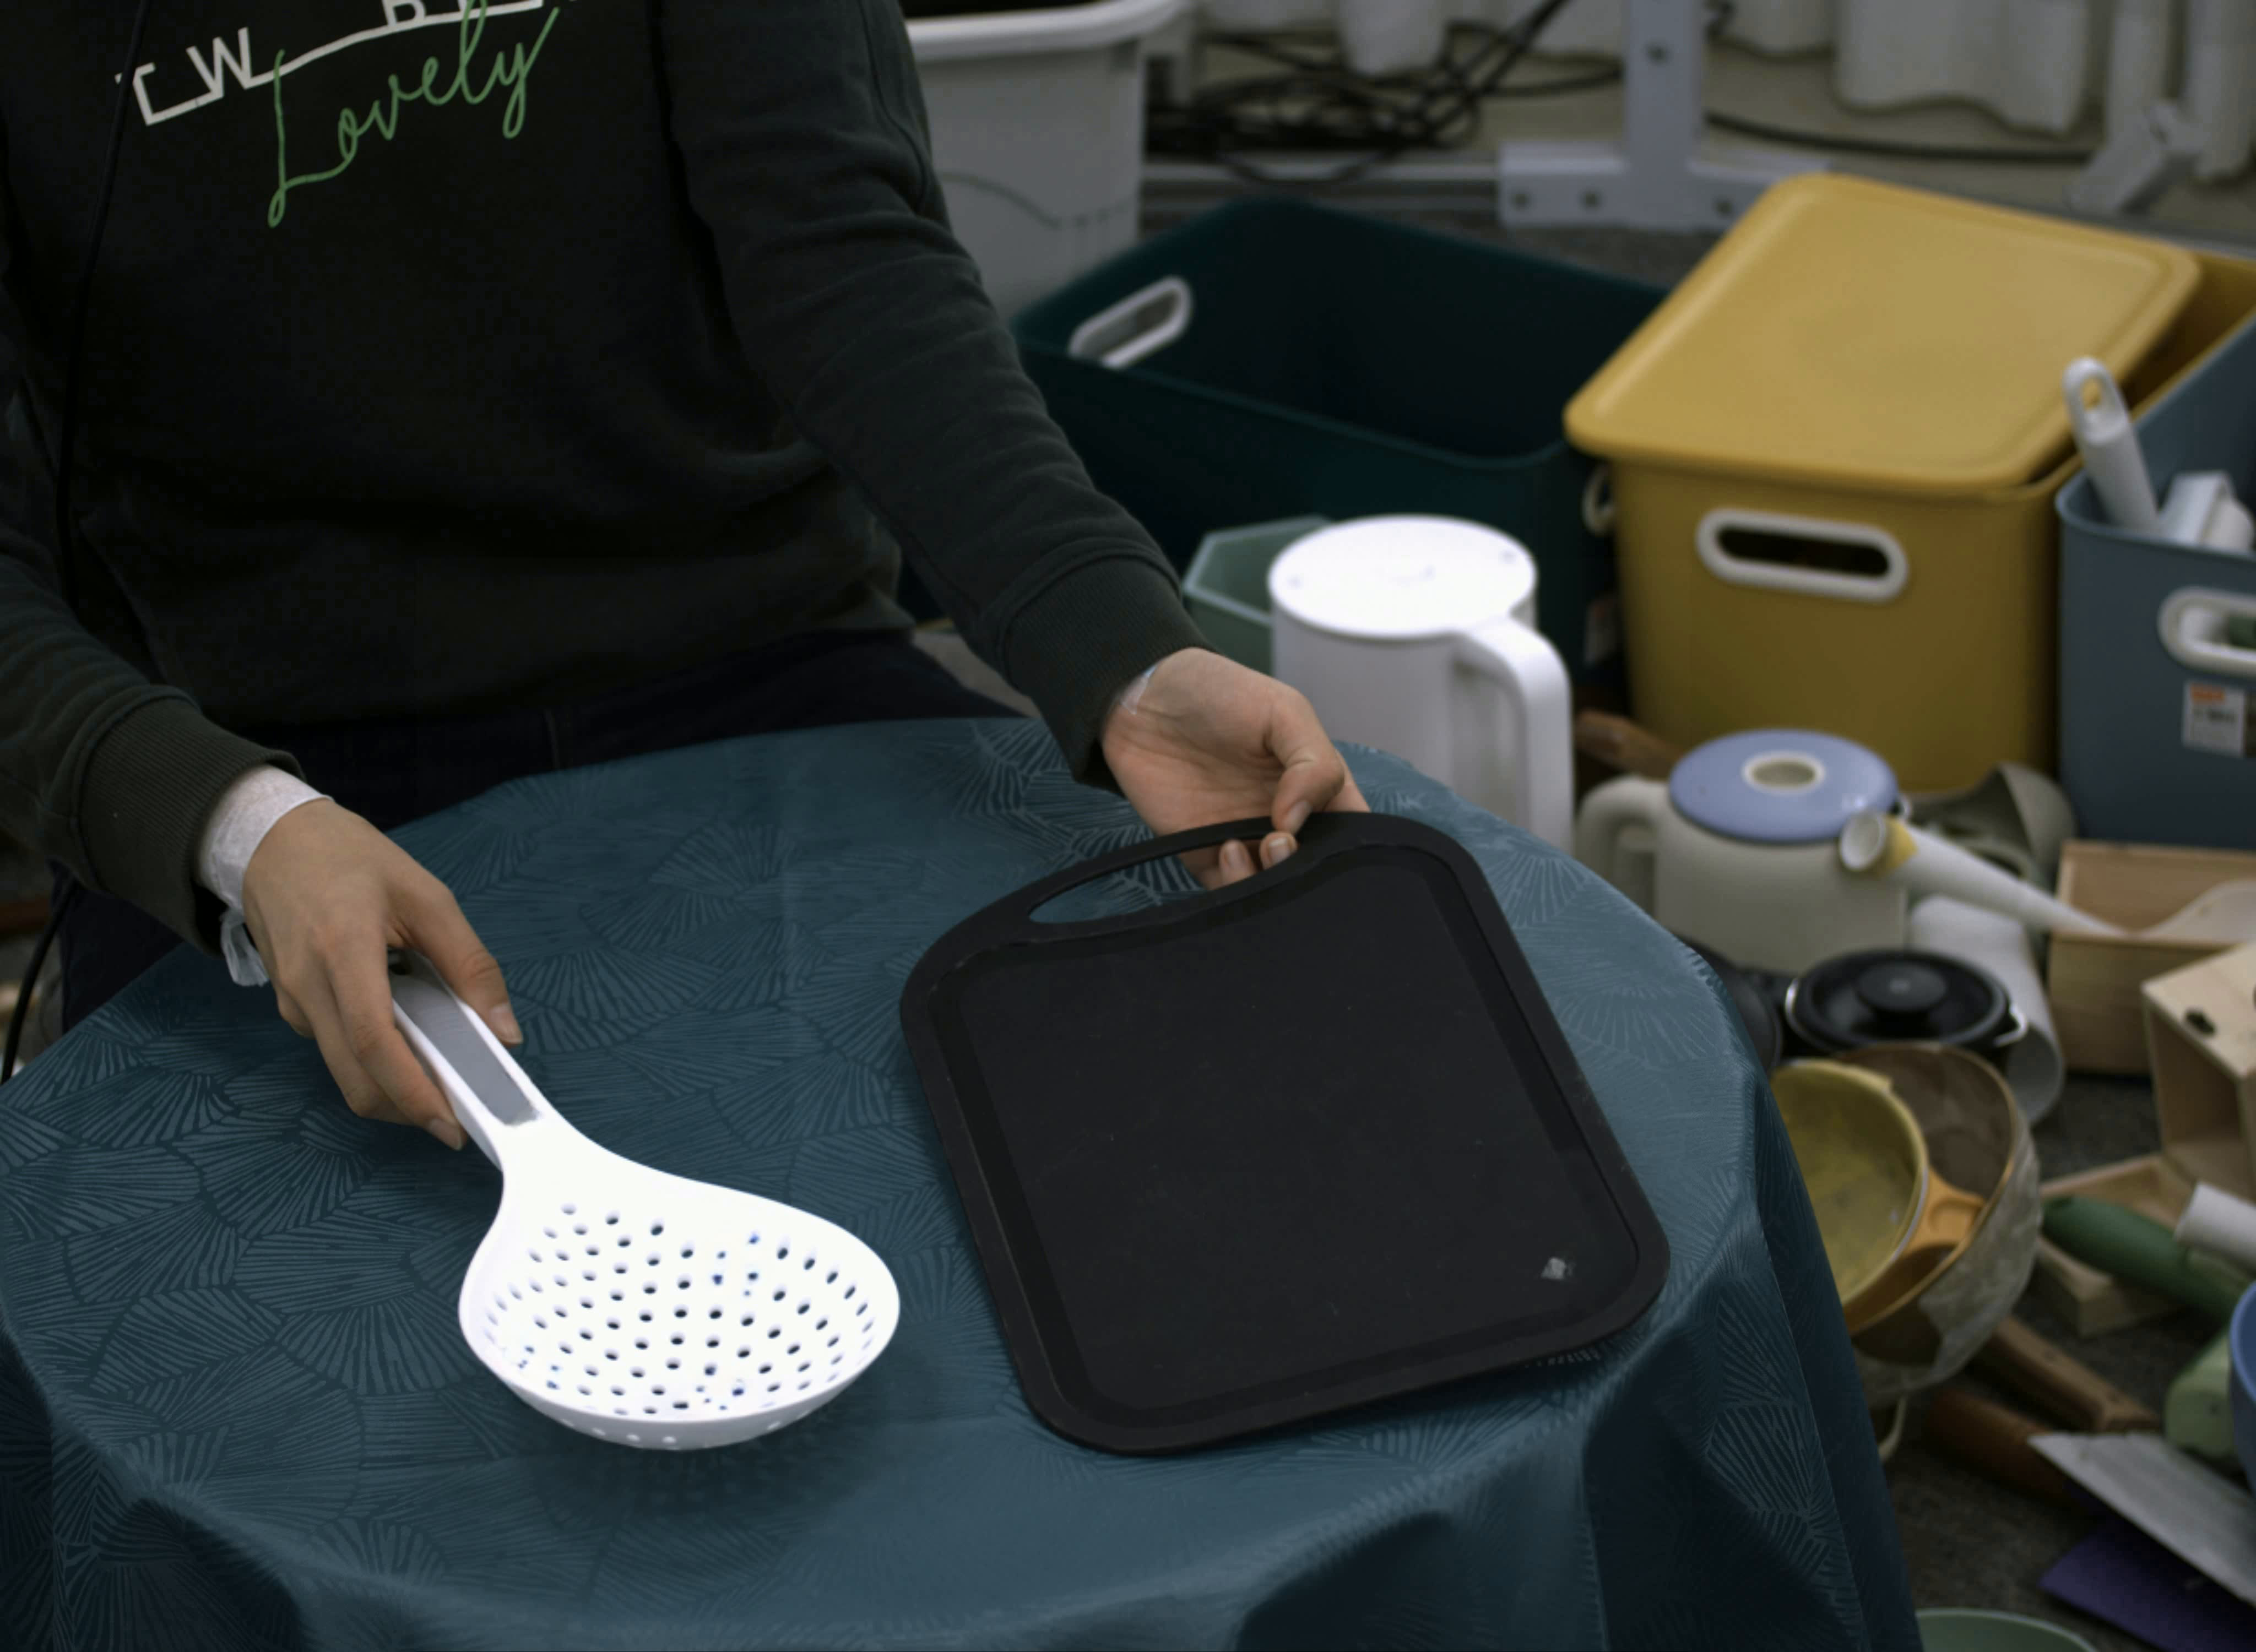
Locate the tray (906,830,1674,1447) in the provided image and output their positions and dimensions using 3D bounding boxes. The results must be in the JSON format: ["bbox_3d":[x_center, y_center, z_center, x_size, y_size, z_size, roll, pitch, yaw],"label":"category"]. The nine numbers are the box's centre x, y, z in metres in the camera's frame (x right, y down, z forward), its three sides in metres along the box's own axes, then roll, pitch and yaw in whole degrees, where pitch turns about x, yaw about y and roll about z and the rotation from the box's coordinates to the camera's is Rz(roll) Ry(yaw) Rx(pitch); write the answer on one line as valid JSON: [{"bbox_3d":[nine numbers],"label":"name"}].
[{"bbox_3d":[0.044,0.092,1.862,0.211,0.009,0.330,-13,33,-7],"label":"tray"}]

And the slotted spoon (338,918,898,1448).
[{"bbox_3d":[-0.188,0.111,1.827,0.136,0.045,0.352,-9,32,-26],"label":"slotted spoon"}]
